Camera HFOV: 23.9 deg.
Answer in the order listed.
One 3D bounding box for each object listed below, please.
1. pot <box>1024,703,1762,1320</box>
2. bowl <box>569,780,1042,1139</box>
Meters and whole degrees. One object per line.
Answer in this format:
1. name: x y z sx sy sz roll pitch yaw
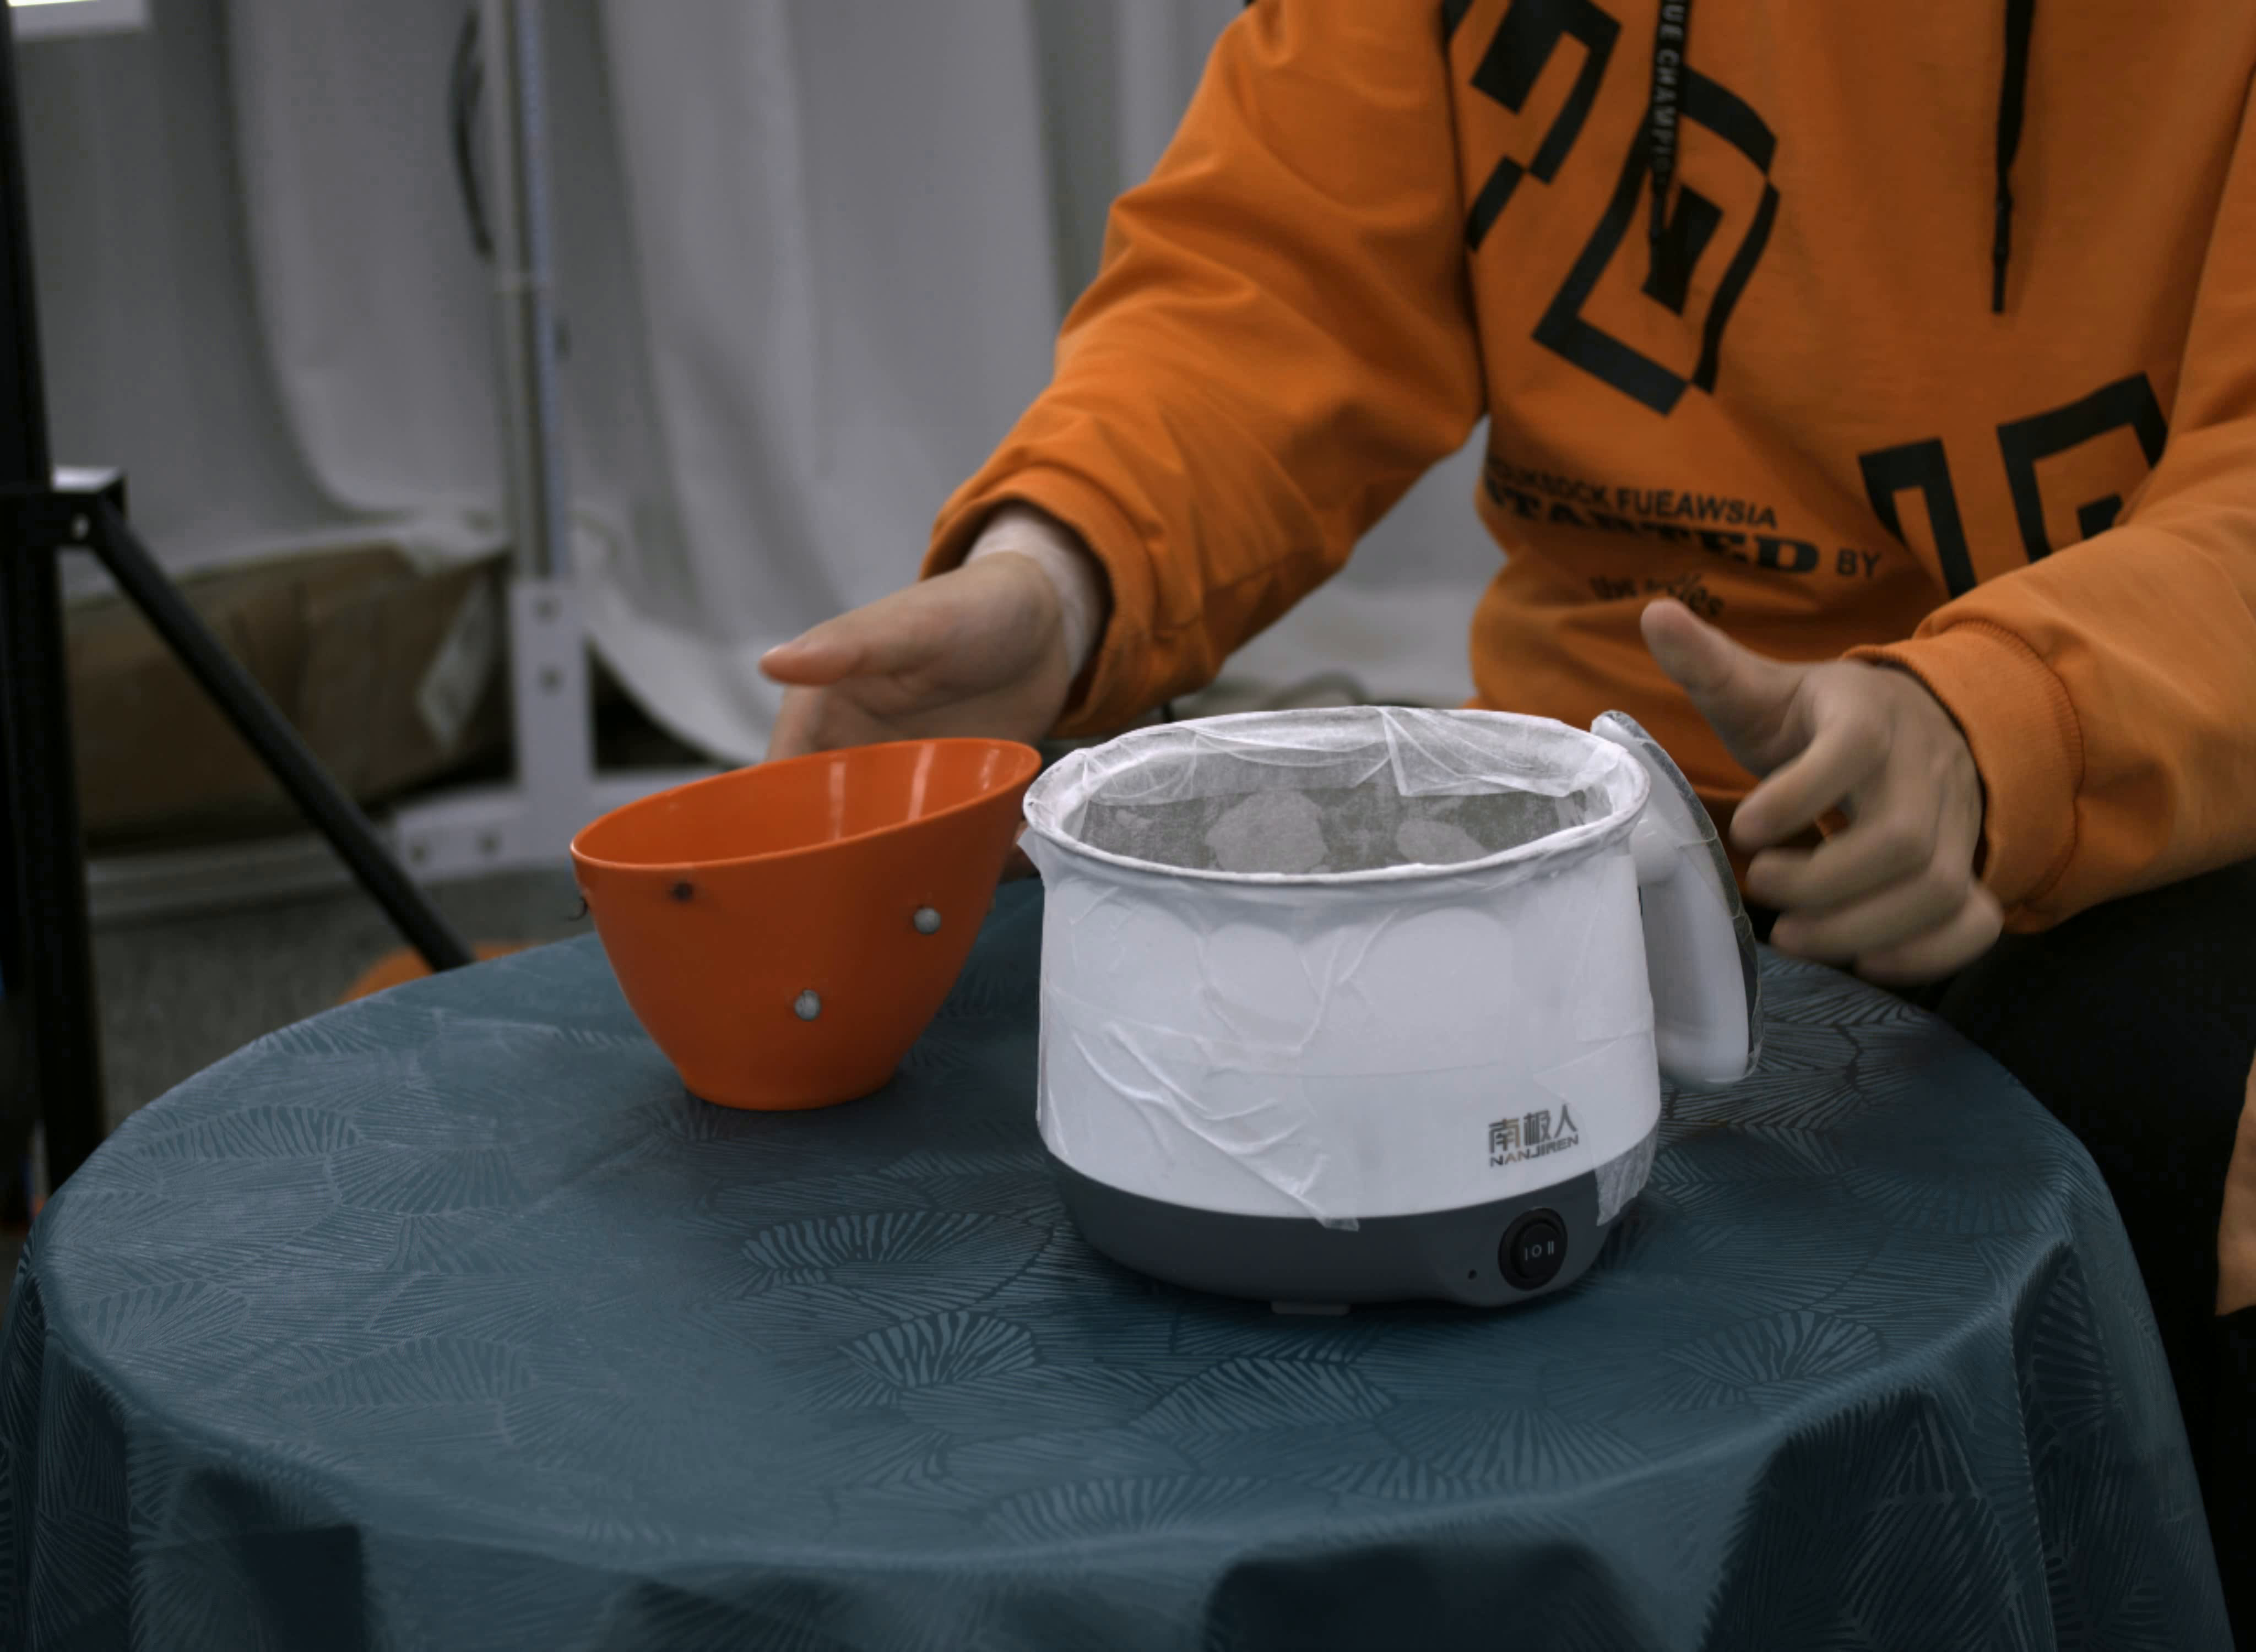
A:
1. pot: 0.084 0.045 1.514 0.228 0.136 0.183 -13 19 -32
2. bowl: -0.103 0.041 1.661 0.147 0.105 0.149 3 16 -2
